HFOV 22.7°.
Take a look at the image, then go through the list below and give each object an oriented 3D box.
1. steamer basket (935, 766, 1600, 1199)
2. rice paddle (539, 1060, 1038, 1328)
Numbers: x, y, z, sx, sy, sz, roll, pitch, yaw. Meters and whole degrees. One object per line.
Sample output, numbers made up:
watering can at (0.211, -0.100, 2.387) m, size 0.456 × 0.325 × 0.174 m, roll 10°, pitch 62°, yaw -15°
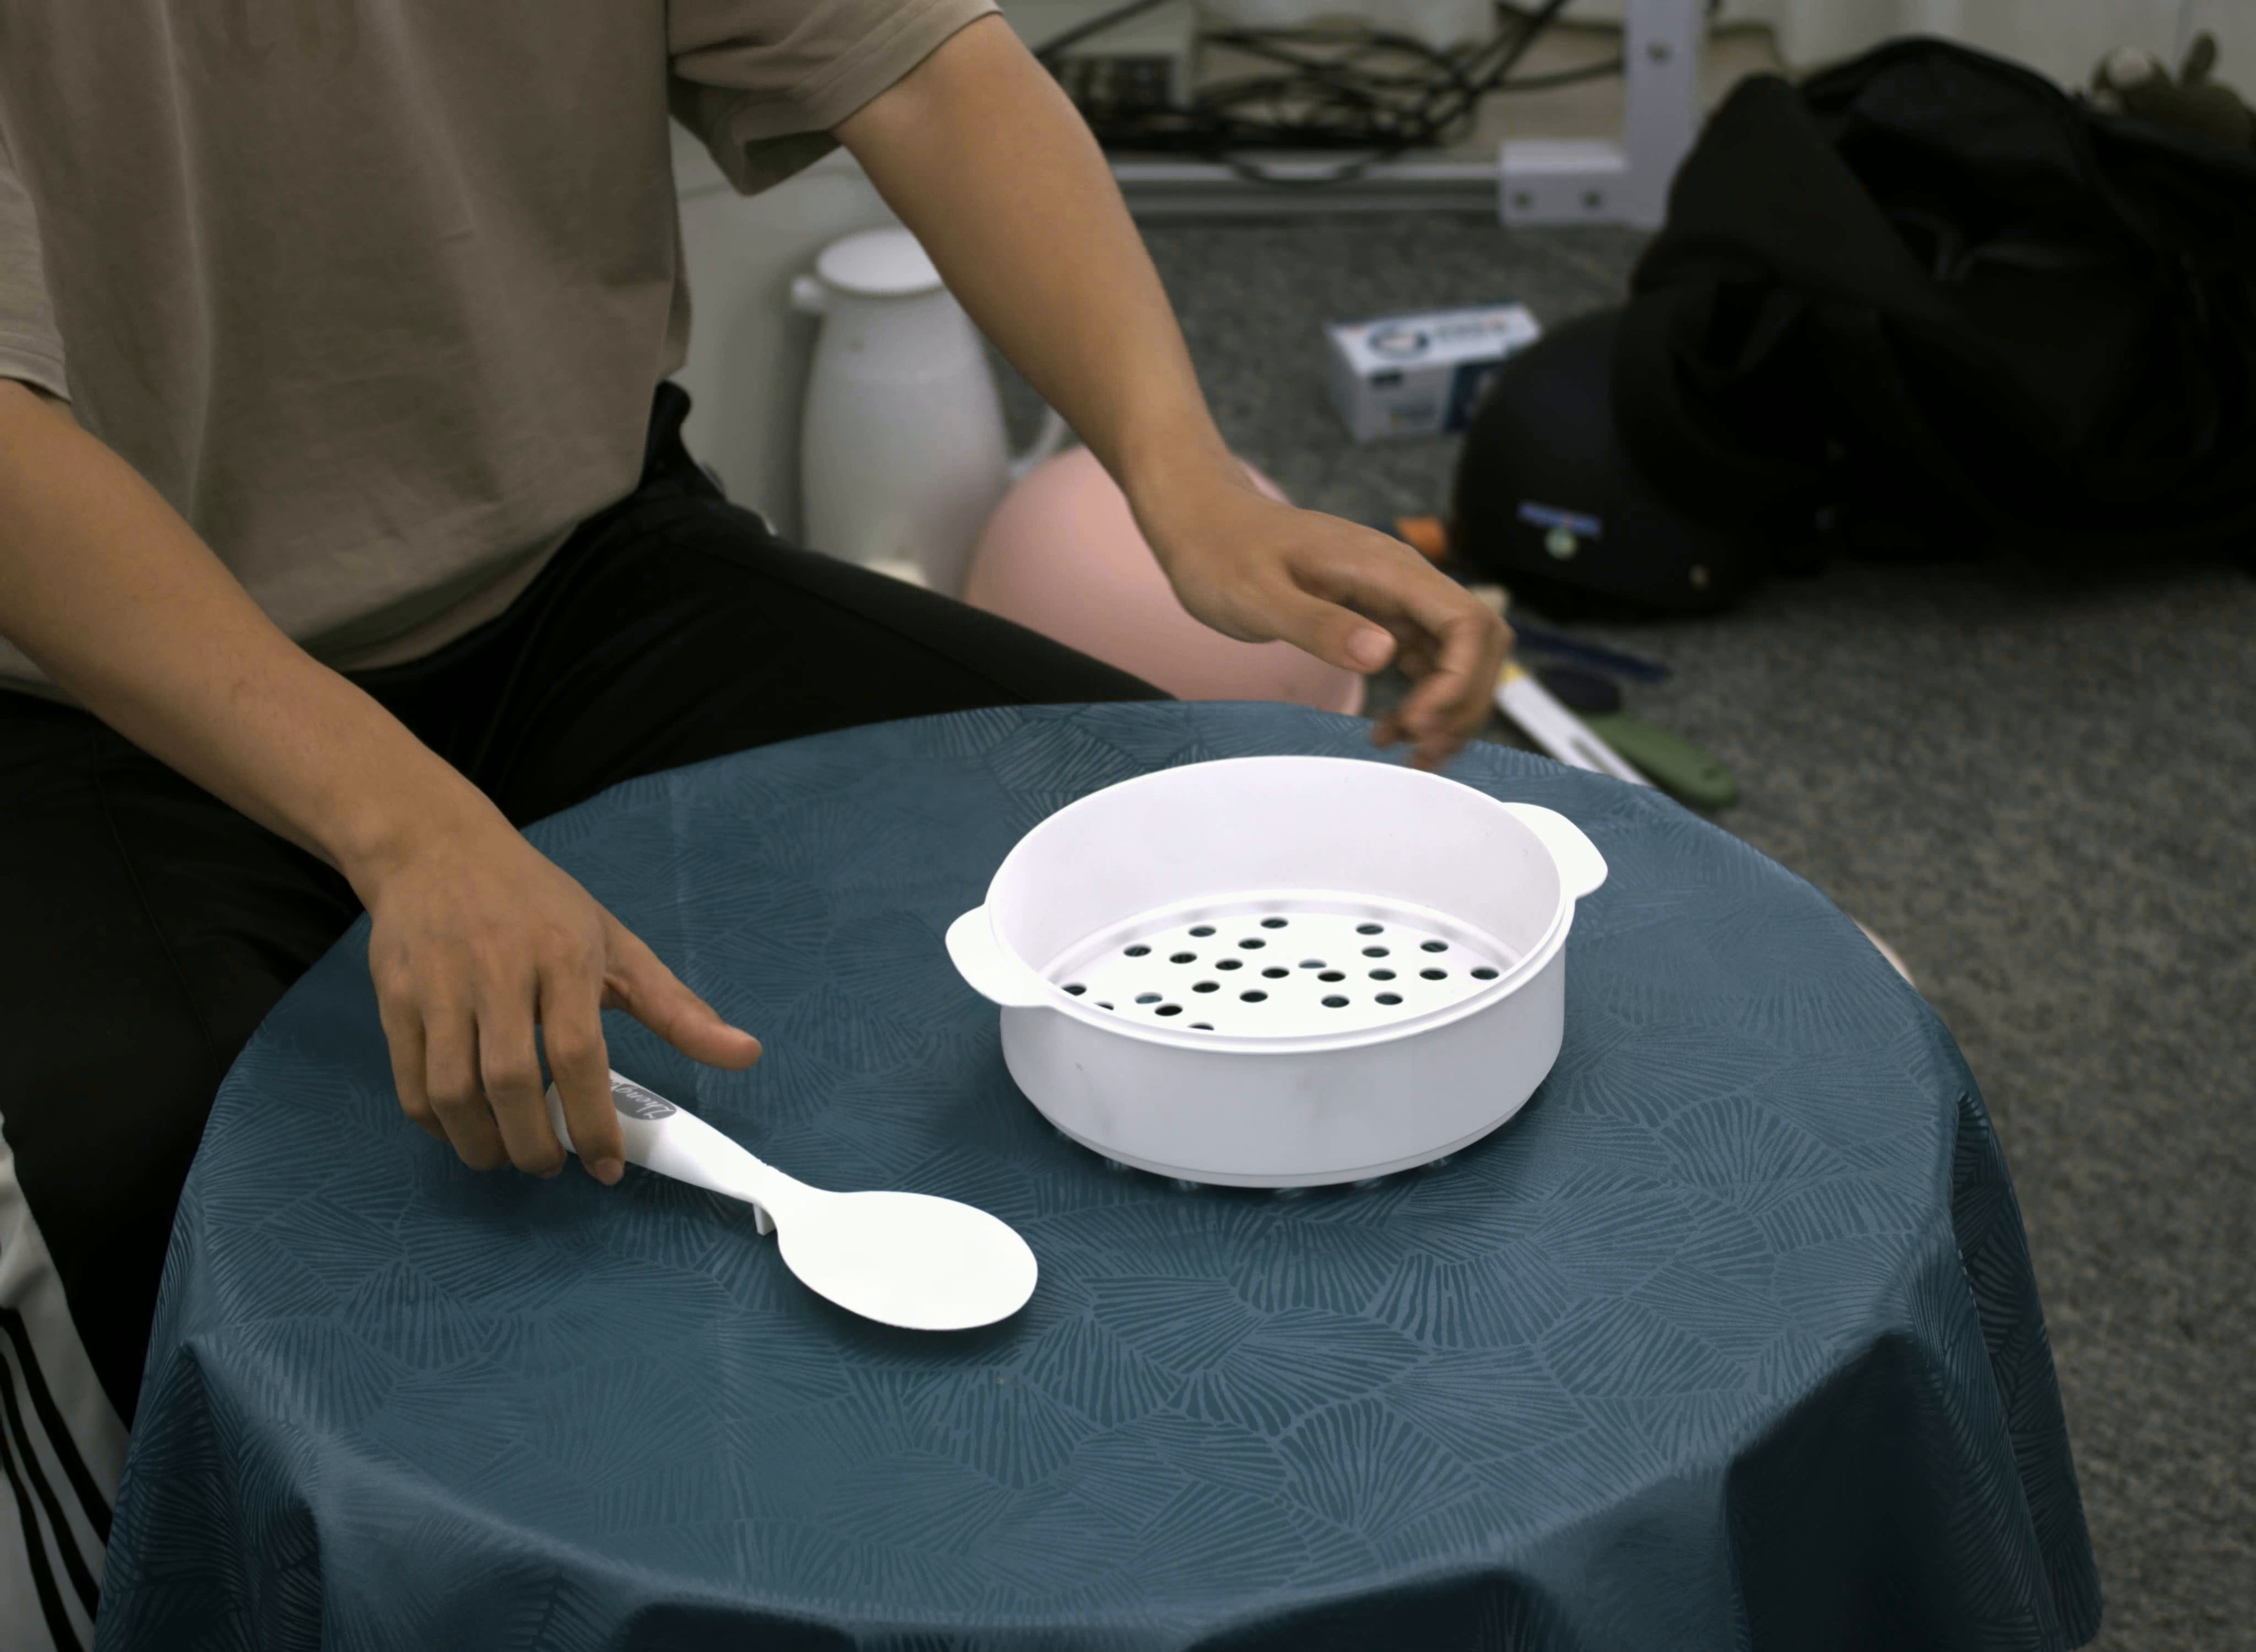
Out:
steamer basket at (0.048, 0.054, 1.920) m, size 0.231 × 0.068 × 0.204 m, roll -9°, pitch 28°, yaw -16°
rice paddle at (-0.112, 0.122, 1.839) m, size 0.205 × 0.029 × 0.070 m, roll 21°, pitch 37°, yaw 37°
